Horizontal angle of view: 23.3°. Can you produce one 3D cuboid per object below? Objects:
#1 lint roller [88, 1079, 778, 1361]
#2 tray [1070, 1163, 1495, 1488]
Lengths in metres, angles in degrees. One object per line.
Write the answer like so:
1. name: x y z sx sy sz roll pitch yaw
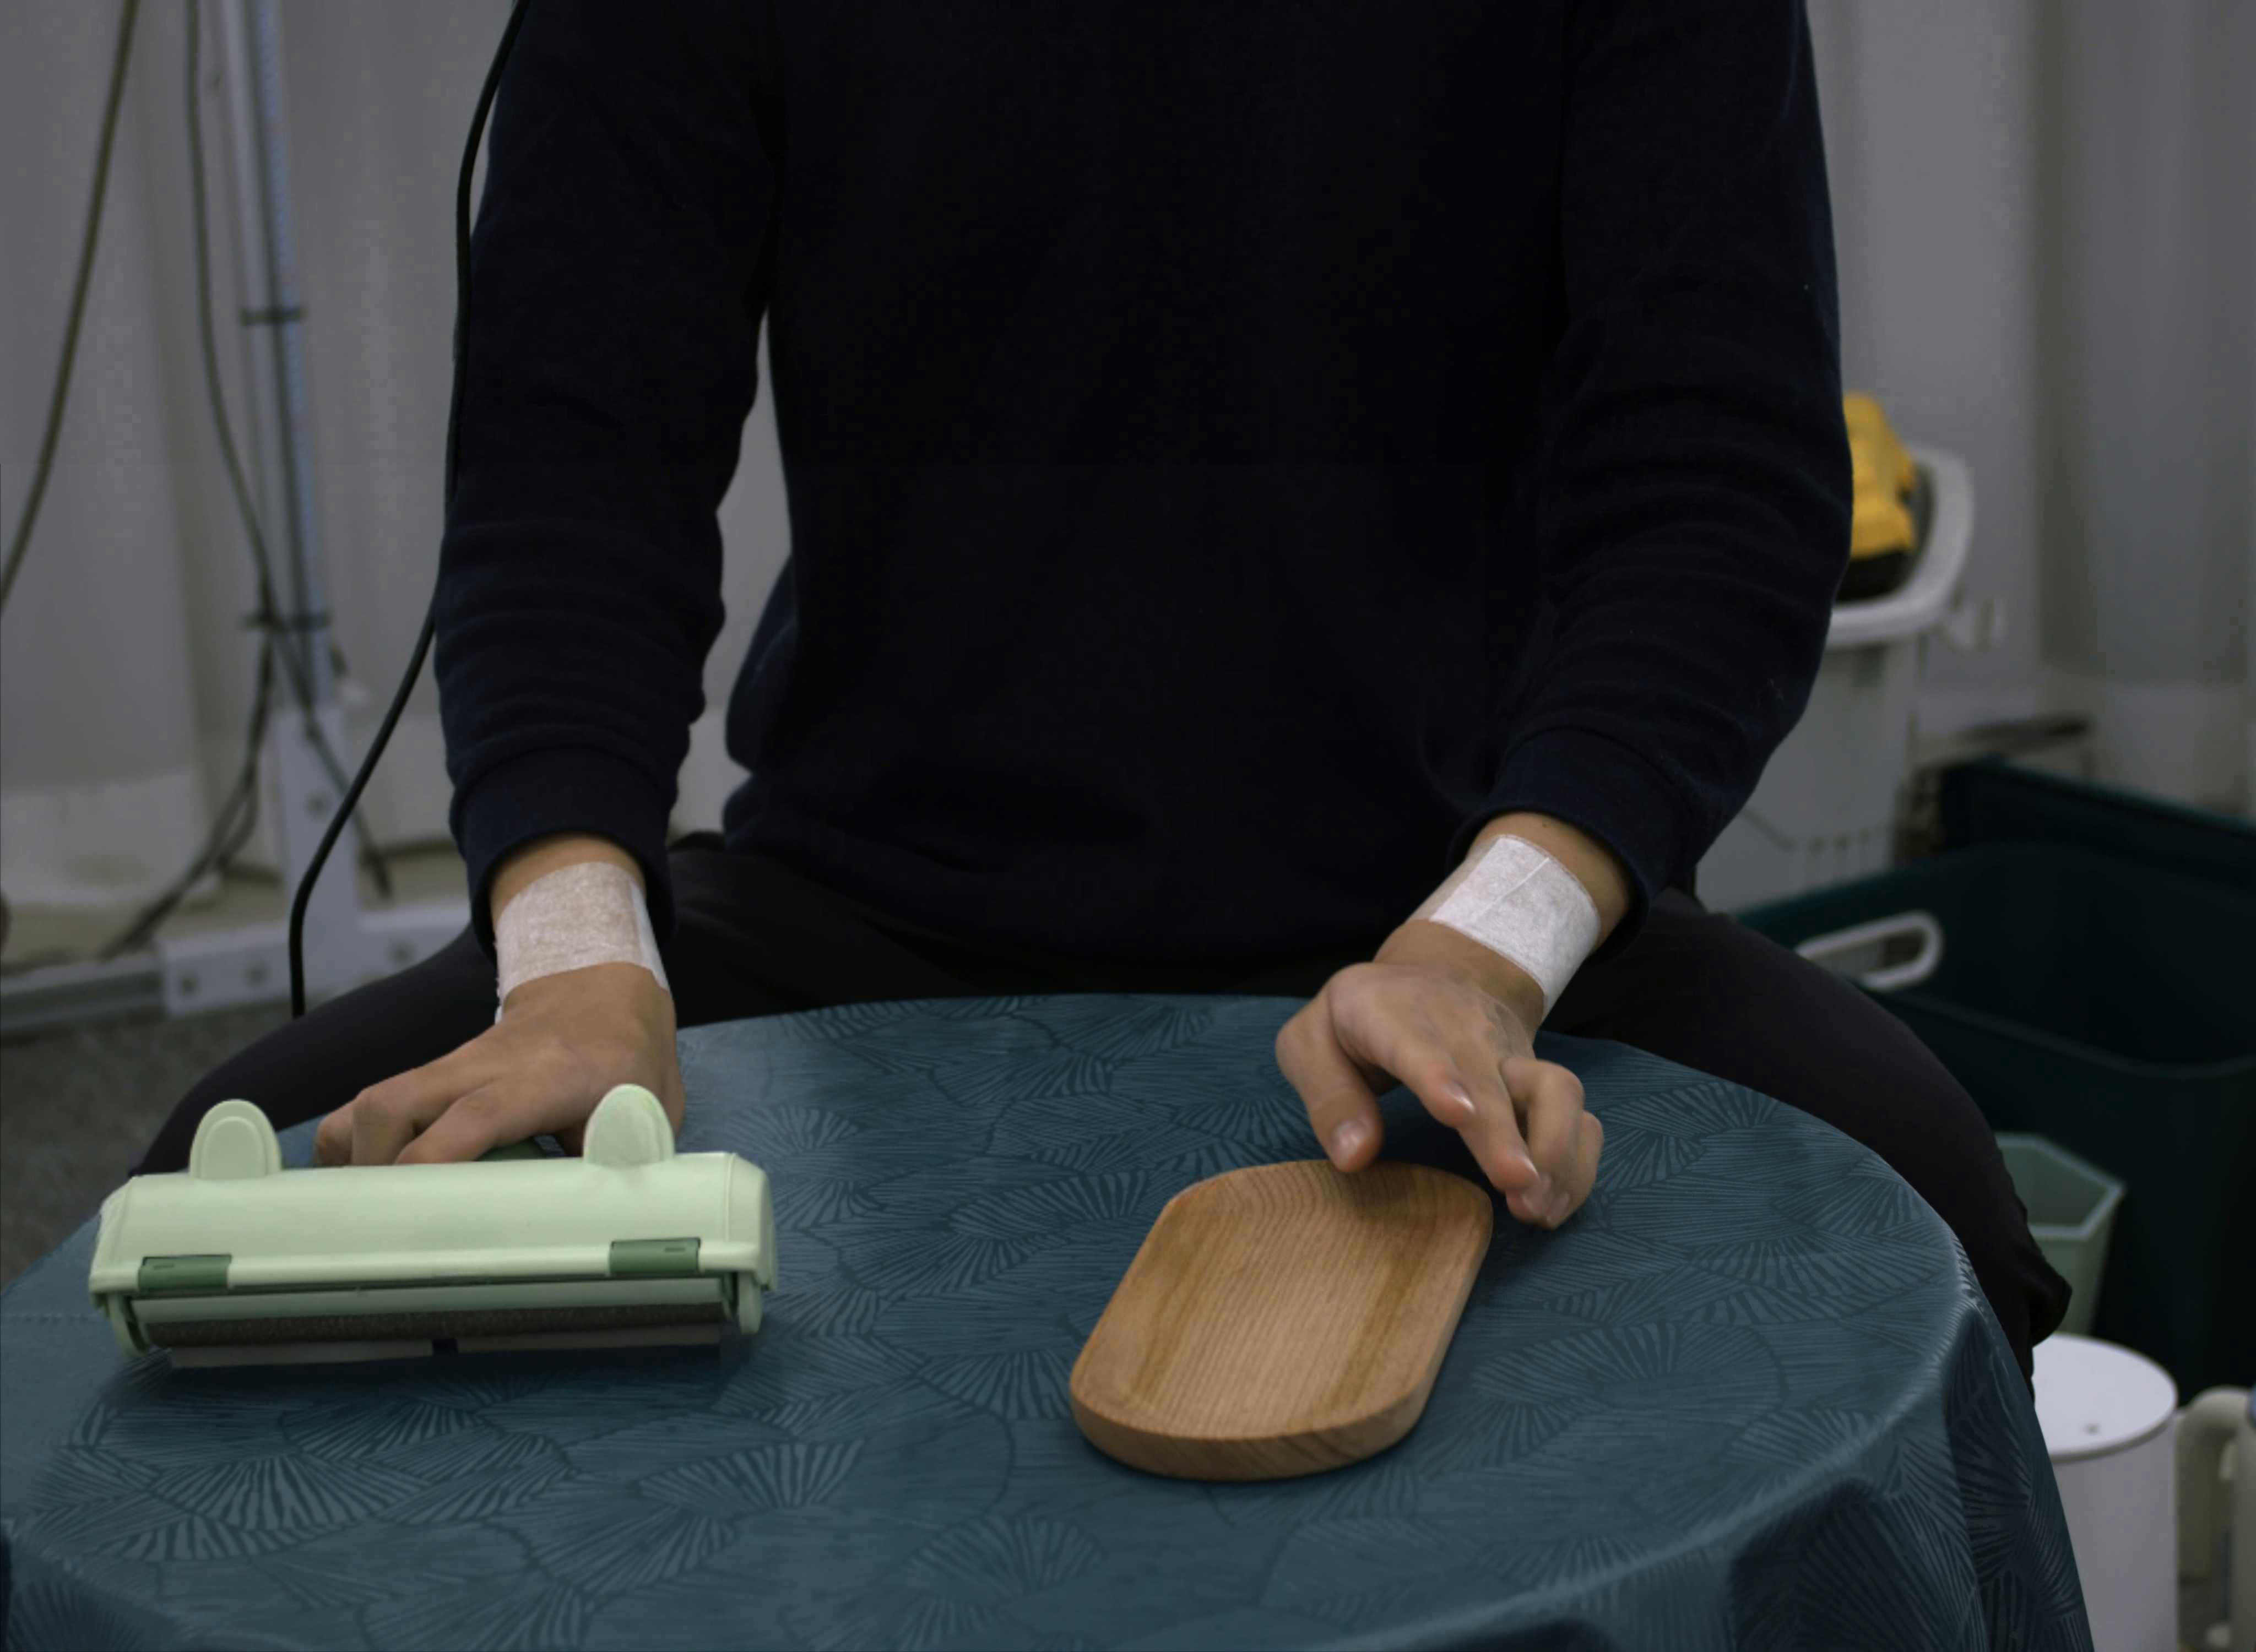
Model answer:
1. lint roller: -0.202 0.098 1.649 0.198 0.081 0.185 -2 21 1
2. tray: 0.047 0.141 1.575 0.101 0.020 0.232 -1 17 12
